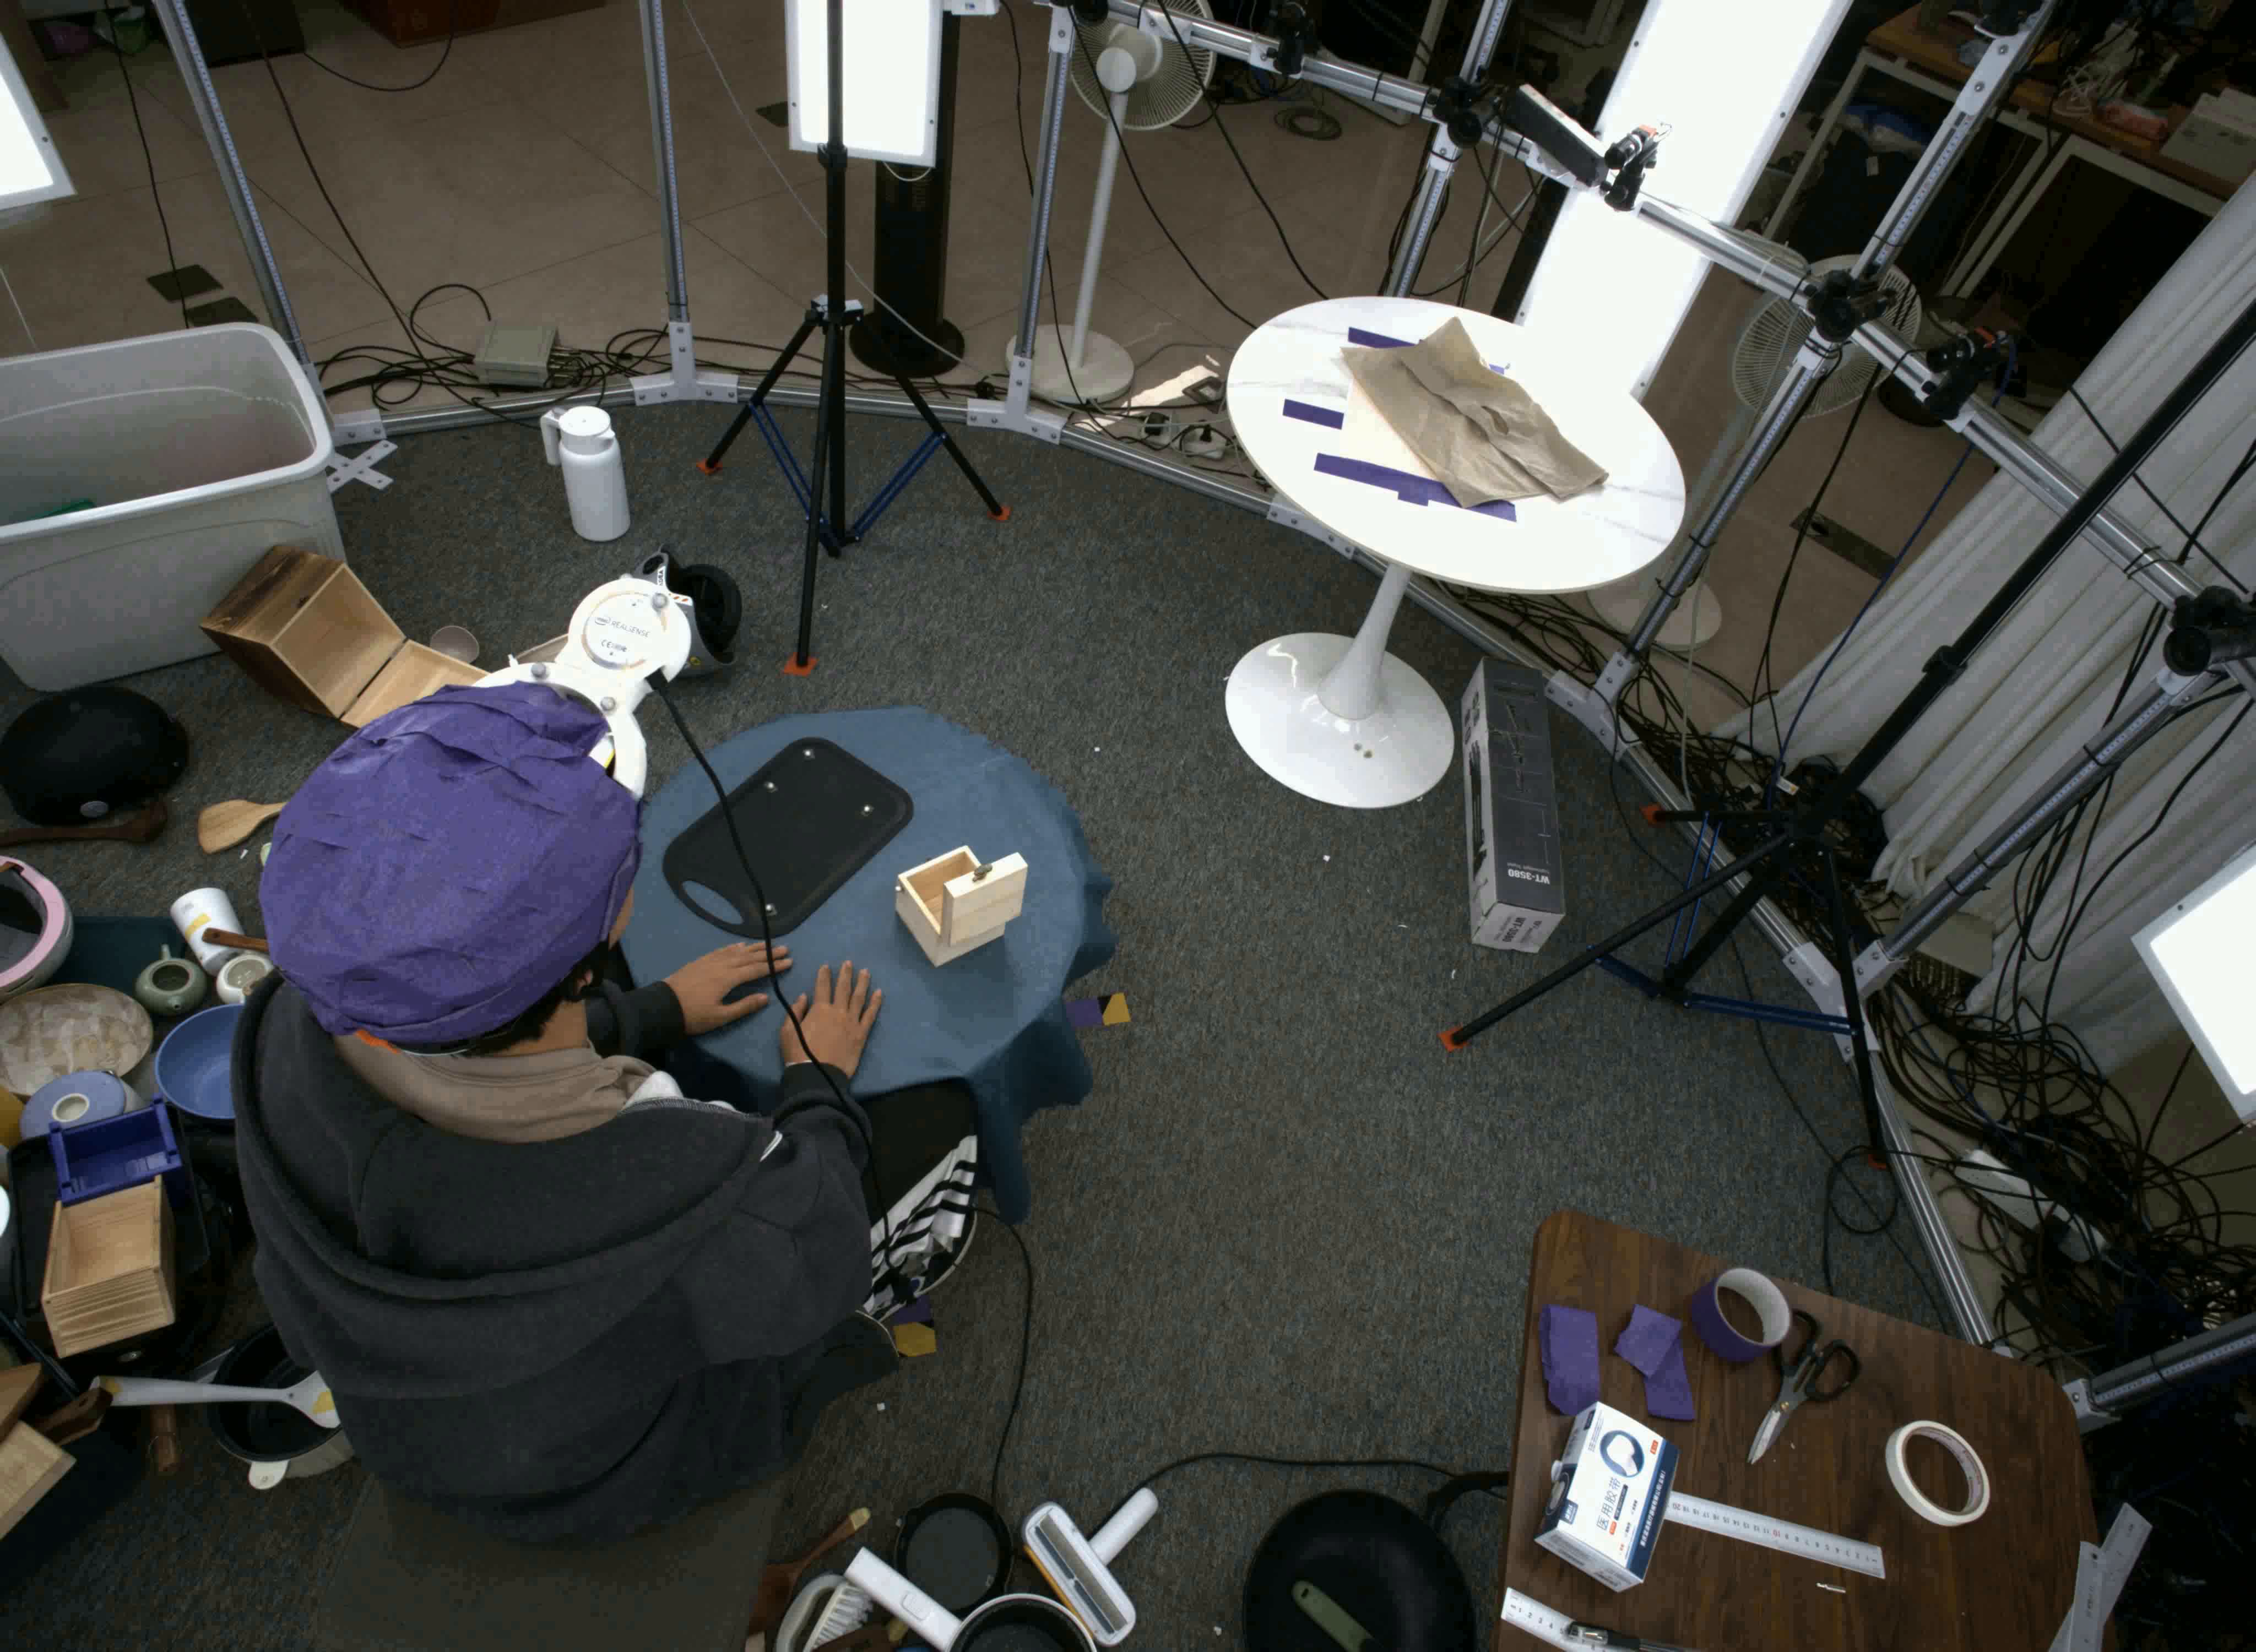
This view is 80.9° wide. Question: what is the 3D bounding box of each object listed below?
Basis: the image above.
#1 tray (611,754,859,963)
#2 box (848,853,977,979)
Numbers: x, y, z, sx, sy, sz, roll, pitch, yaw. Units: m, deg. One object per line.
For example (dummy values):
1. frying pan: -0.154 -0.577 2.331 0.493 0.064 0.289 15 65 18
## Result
1. tray: -0.511 0.037 1.674 0.207 0.010 0.324 31 52 10
2. box: -0.267 0.085 1.586 0.103 0.188 0.131 -30 66 -30
